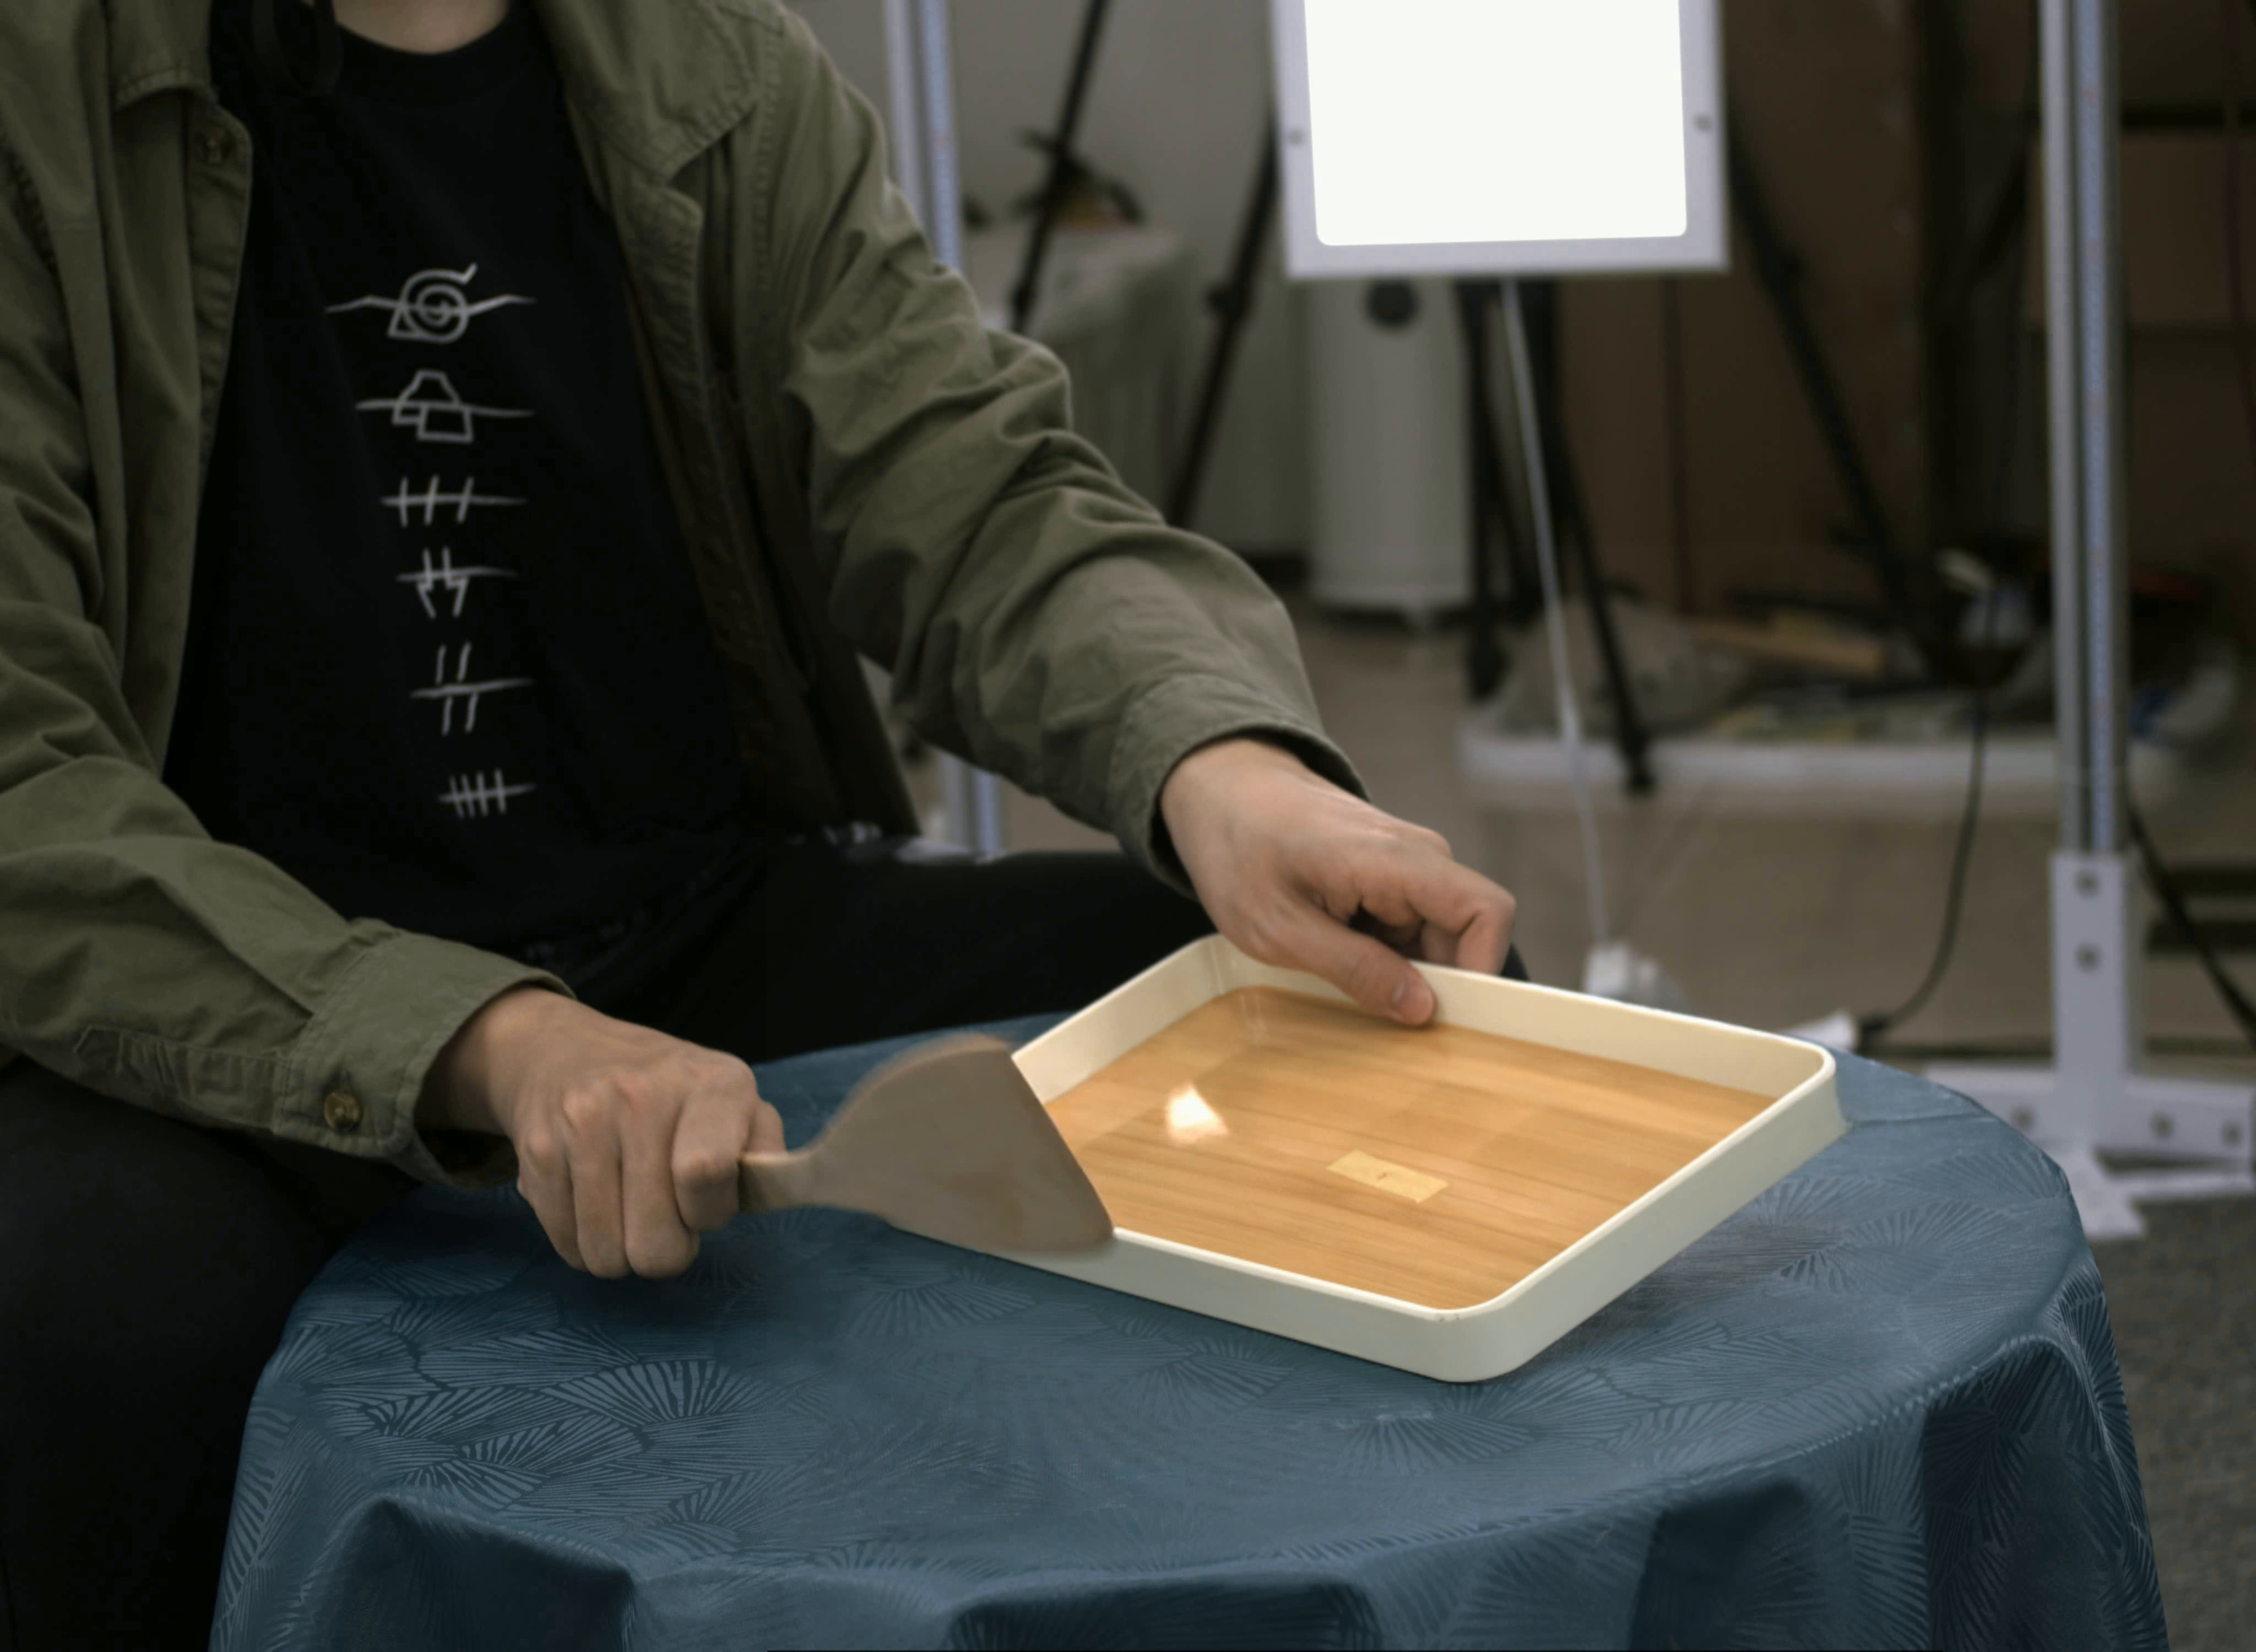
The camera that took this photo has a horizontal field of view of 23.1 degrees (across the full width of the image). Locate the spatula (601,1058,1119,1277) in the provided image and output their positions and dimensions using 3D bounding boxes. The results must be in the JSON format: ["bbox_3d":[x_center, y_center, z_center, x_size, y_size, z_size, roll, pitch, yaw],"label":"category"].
[{"bbox_3d":[-0.096,0.112,1.743,0.016,0.079,0.334,-41,14,-24],"label":"spatula"}]

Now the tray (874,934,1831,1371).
[{"bbox_3d":[0.068,0.103,1.829,0.187,0.027,0.307,-30,25,-34],"label":"tray"}]
